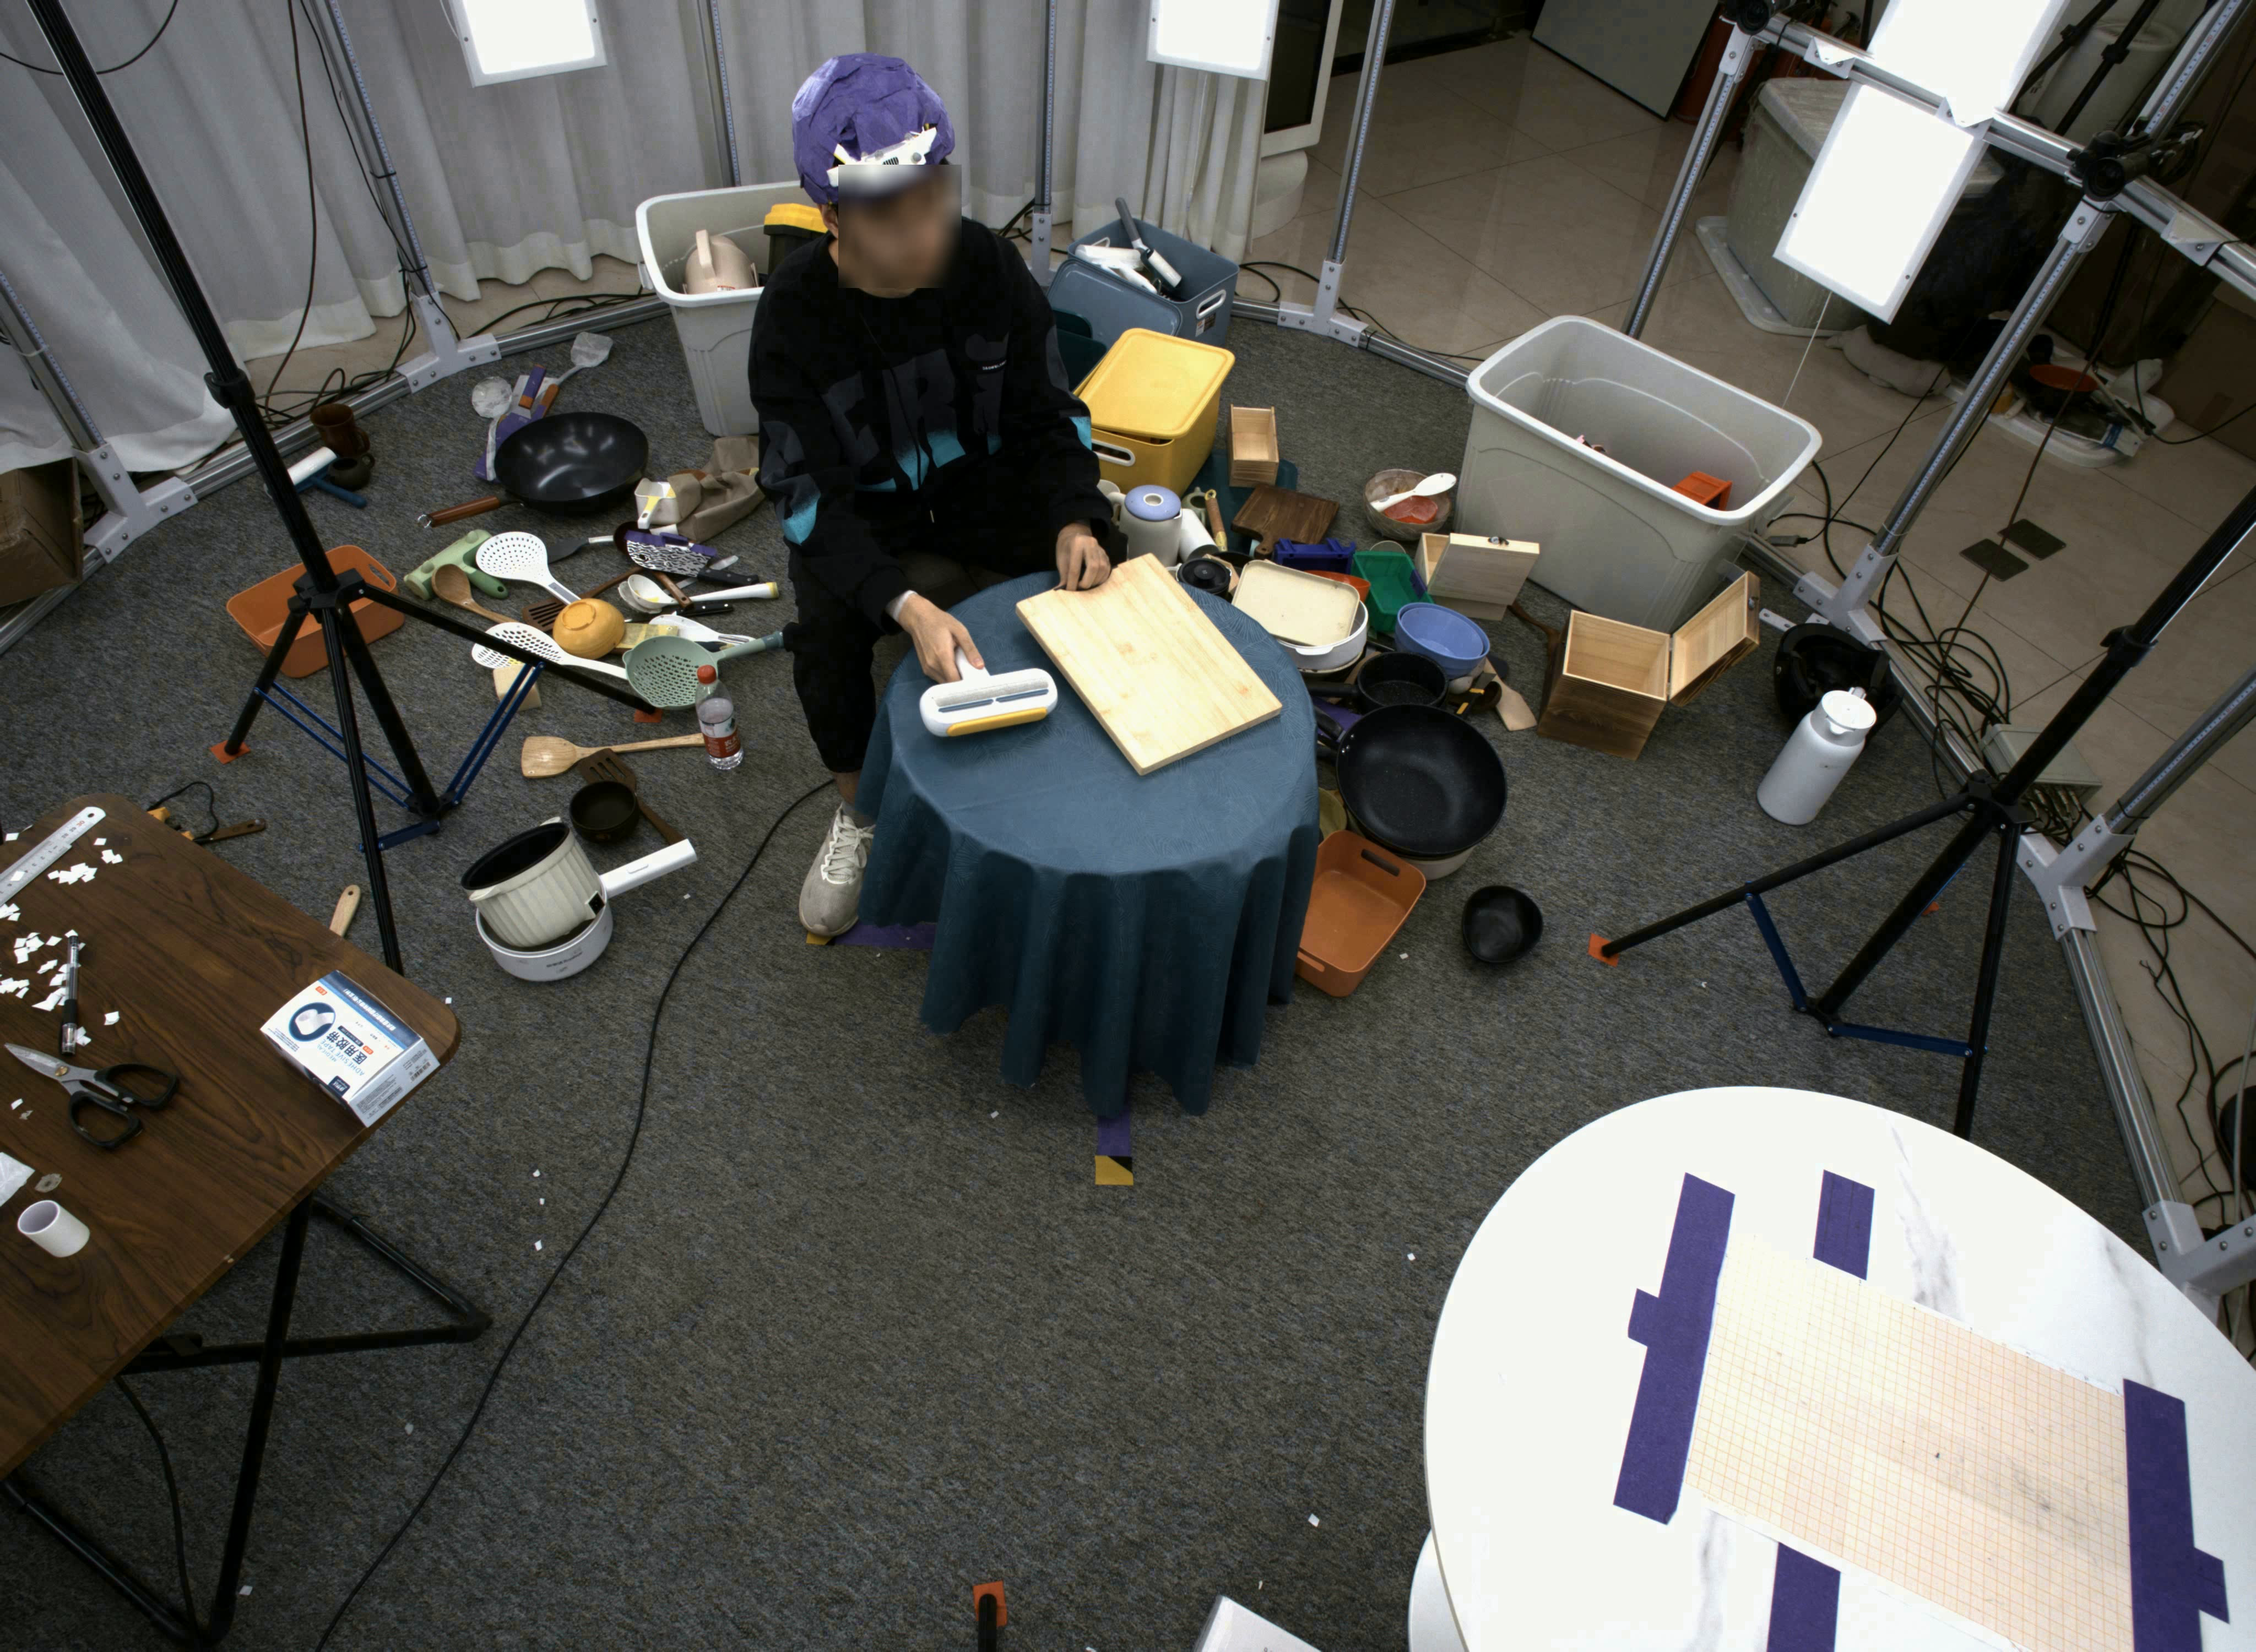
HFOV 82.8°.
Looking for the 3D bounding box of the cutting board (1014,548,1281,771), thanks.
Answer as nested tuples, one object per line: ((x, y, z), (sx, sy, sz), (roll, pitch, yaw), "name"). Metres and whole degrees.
((0.025, -0.247, 1.850), (0.252, 0.023, 0.355), (-25, 61, -23), "cutting board")

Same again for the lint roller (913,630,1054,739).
((-0.215, -0.210, 1.781), (0.193, 0.072, 0.196), (-11, 58, -19), "lint roller")
